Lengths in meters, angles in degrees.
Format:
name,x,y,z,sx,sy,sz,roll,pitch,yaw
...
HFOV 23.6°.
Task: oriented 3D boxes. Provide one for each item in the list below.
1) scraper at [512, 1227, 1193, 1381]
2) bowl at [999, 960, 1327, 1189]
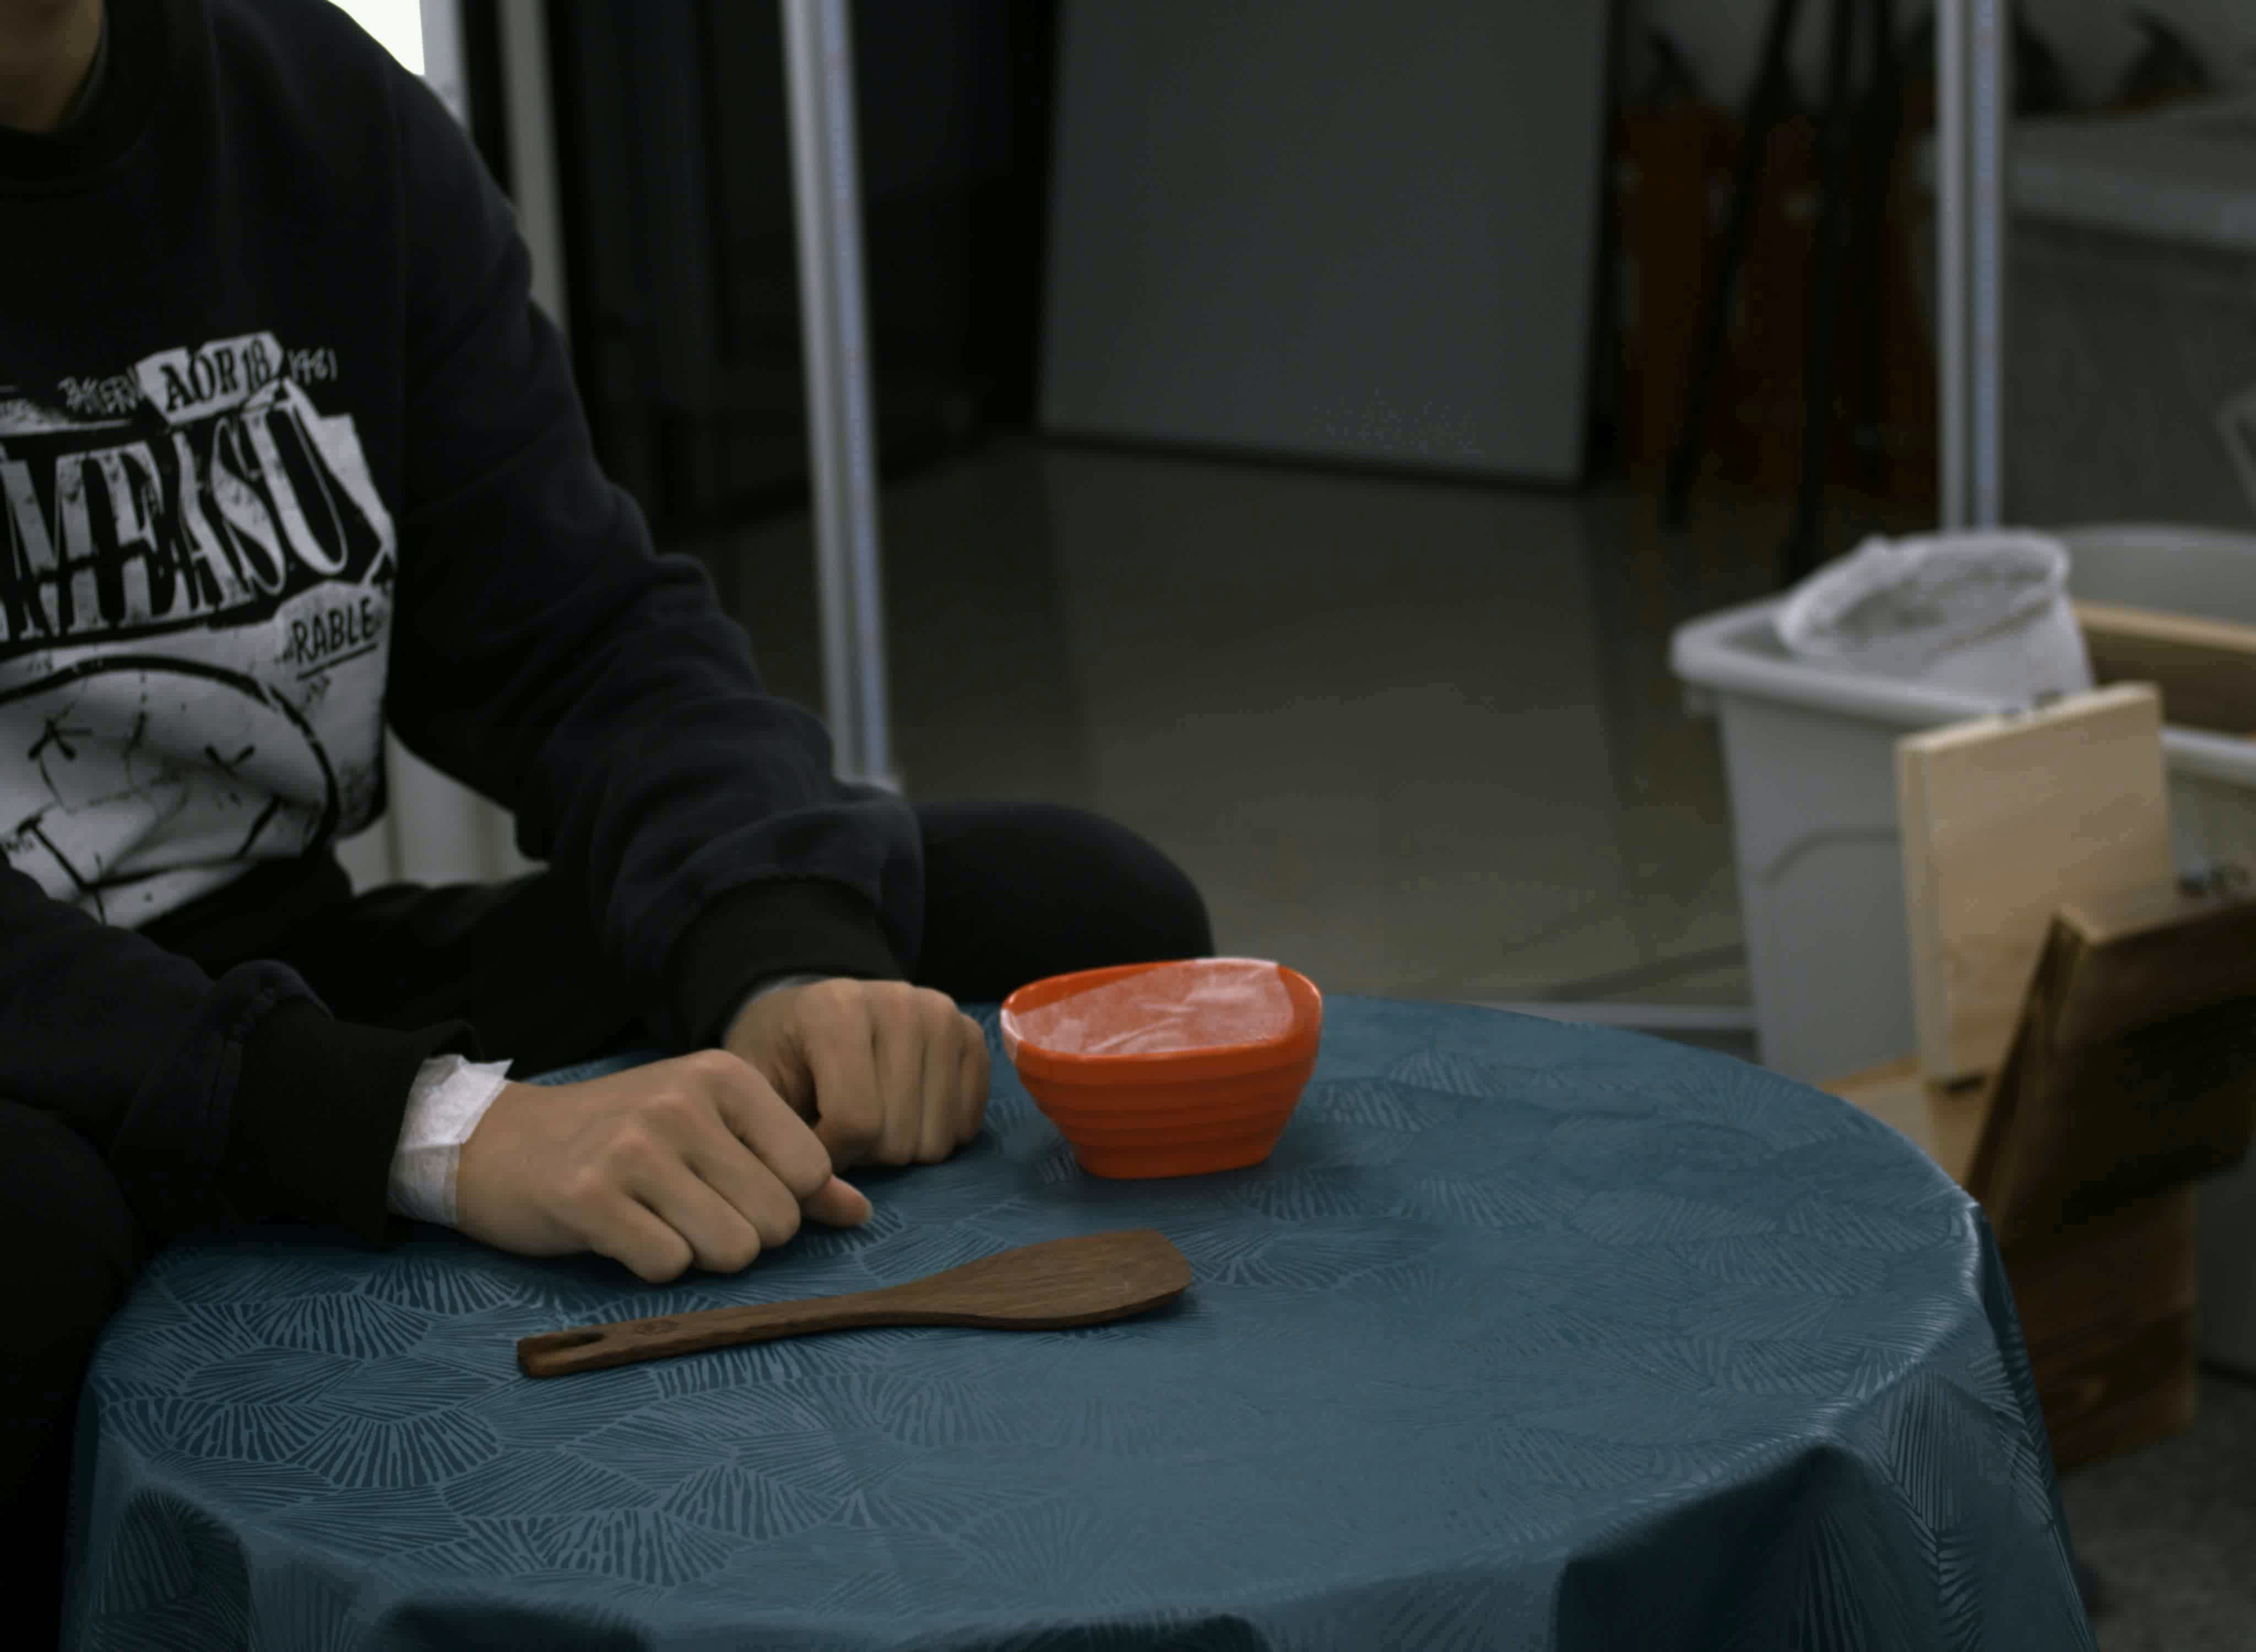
name,x,y,z,sx,sy,sz,roll,pitch,yaw
scraper,-0.085,0.151,1.661,0.207,0.011,0.076,-8,13,-11
bowl,0.013,0.086,1.809,0.117,0.052,0.119,-4,16,0
